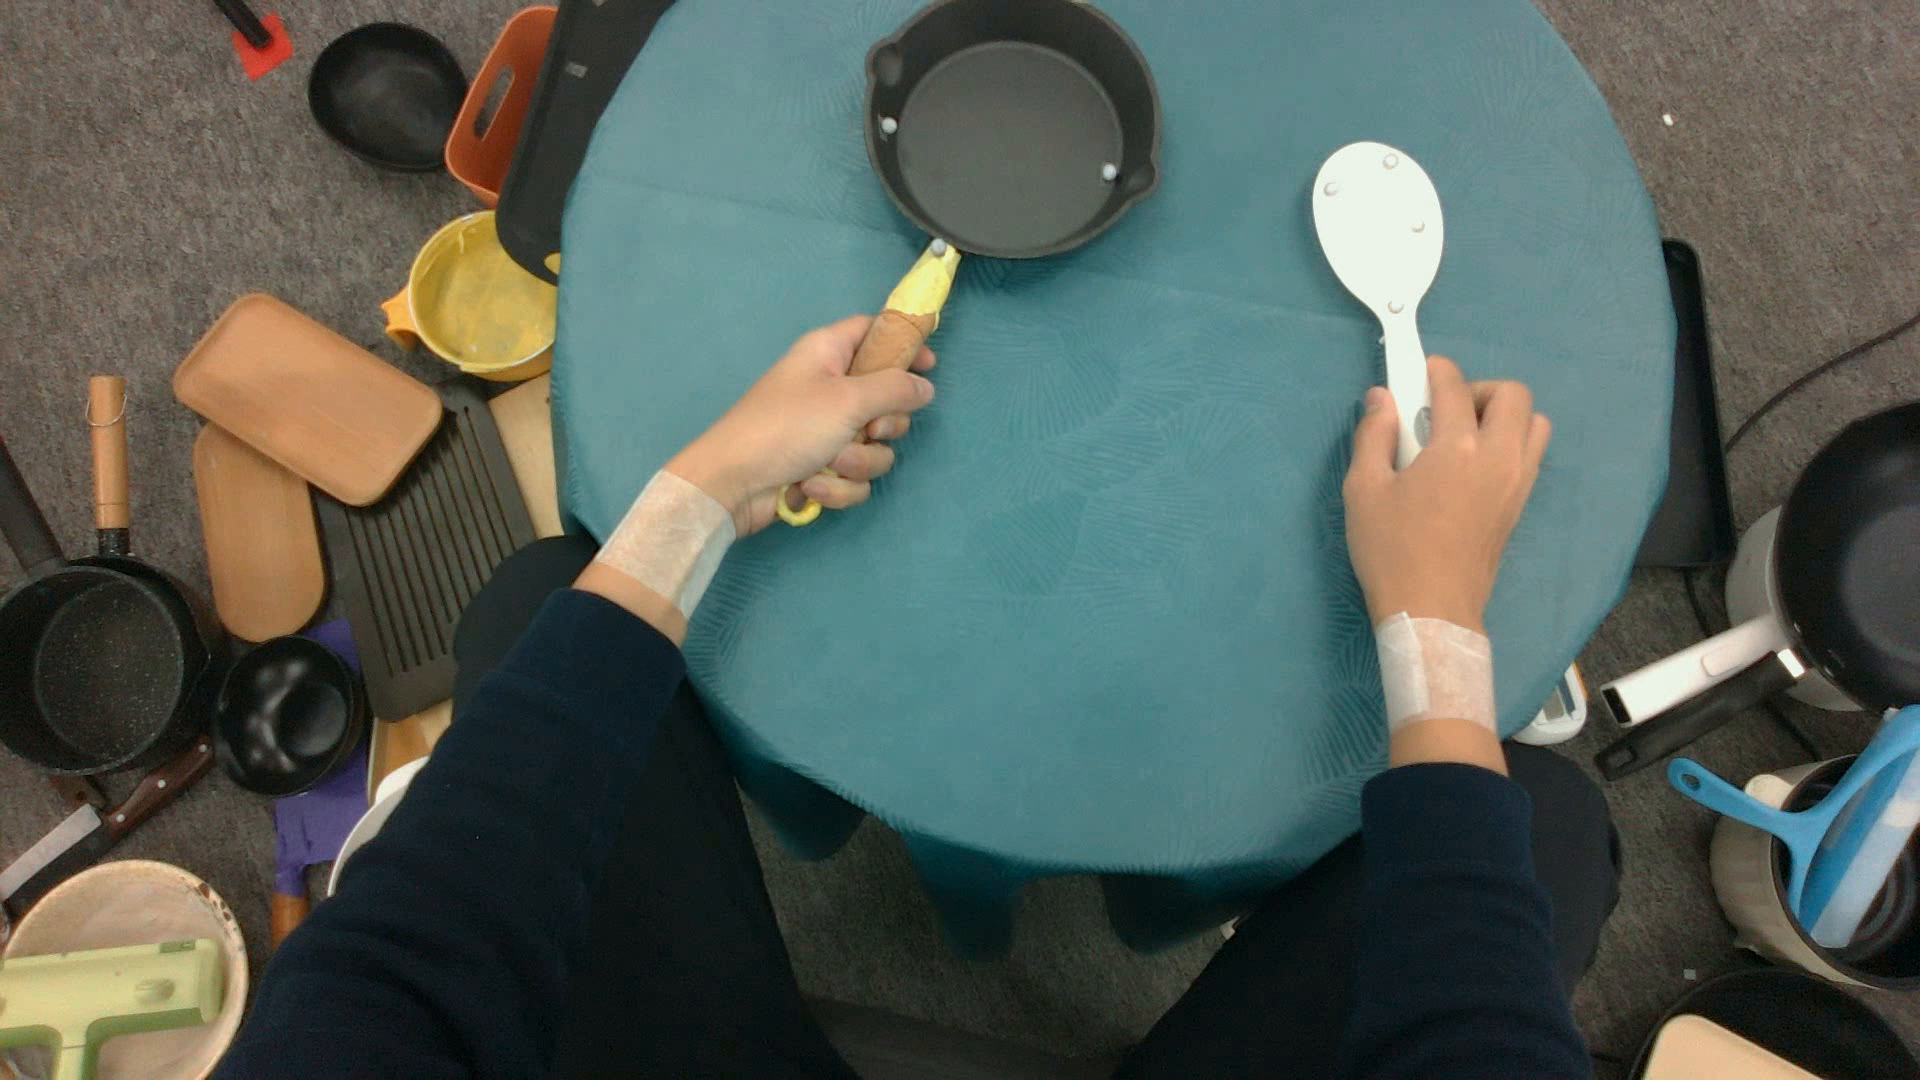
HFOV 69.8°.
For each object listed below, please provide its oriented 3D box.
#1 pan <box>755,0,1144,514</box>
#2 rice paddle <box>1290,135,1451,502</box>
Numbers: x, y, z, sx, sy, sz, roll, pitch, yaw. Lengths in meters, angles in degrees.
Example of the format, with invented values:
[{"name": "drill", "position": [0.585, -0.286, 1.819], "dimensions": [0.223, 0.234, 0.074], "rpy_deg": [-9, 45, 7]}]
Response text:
[{"name": "pan", "position": [-0.021, -0.153, 0.714], "dimensions": [0.169, 0.049, 0.325], "rpy_deg": [28, 76, 4]}, {"name": "rice paddle", "position": [0.220, -0.122, 0.725], "dimensions": [0.069, 0.029, 0.205], "rpy_deg": [-7, 78, -8]}]
